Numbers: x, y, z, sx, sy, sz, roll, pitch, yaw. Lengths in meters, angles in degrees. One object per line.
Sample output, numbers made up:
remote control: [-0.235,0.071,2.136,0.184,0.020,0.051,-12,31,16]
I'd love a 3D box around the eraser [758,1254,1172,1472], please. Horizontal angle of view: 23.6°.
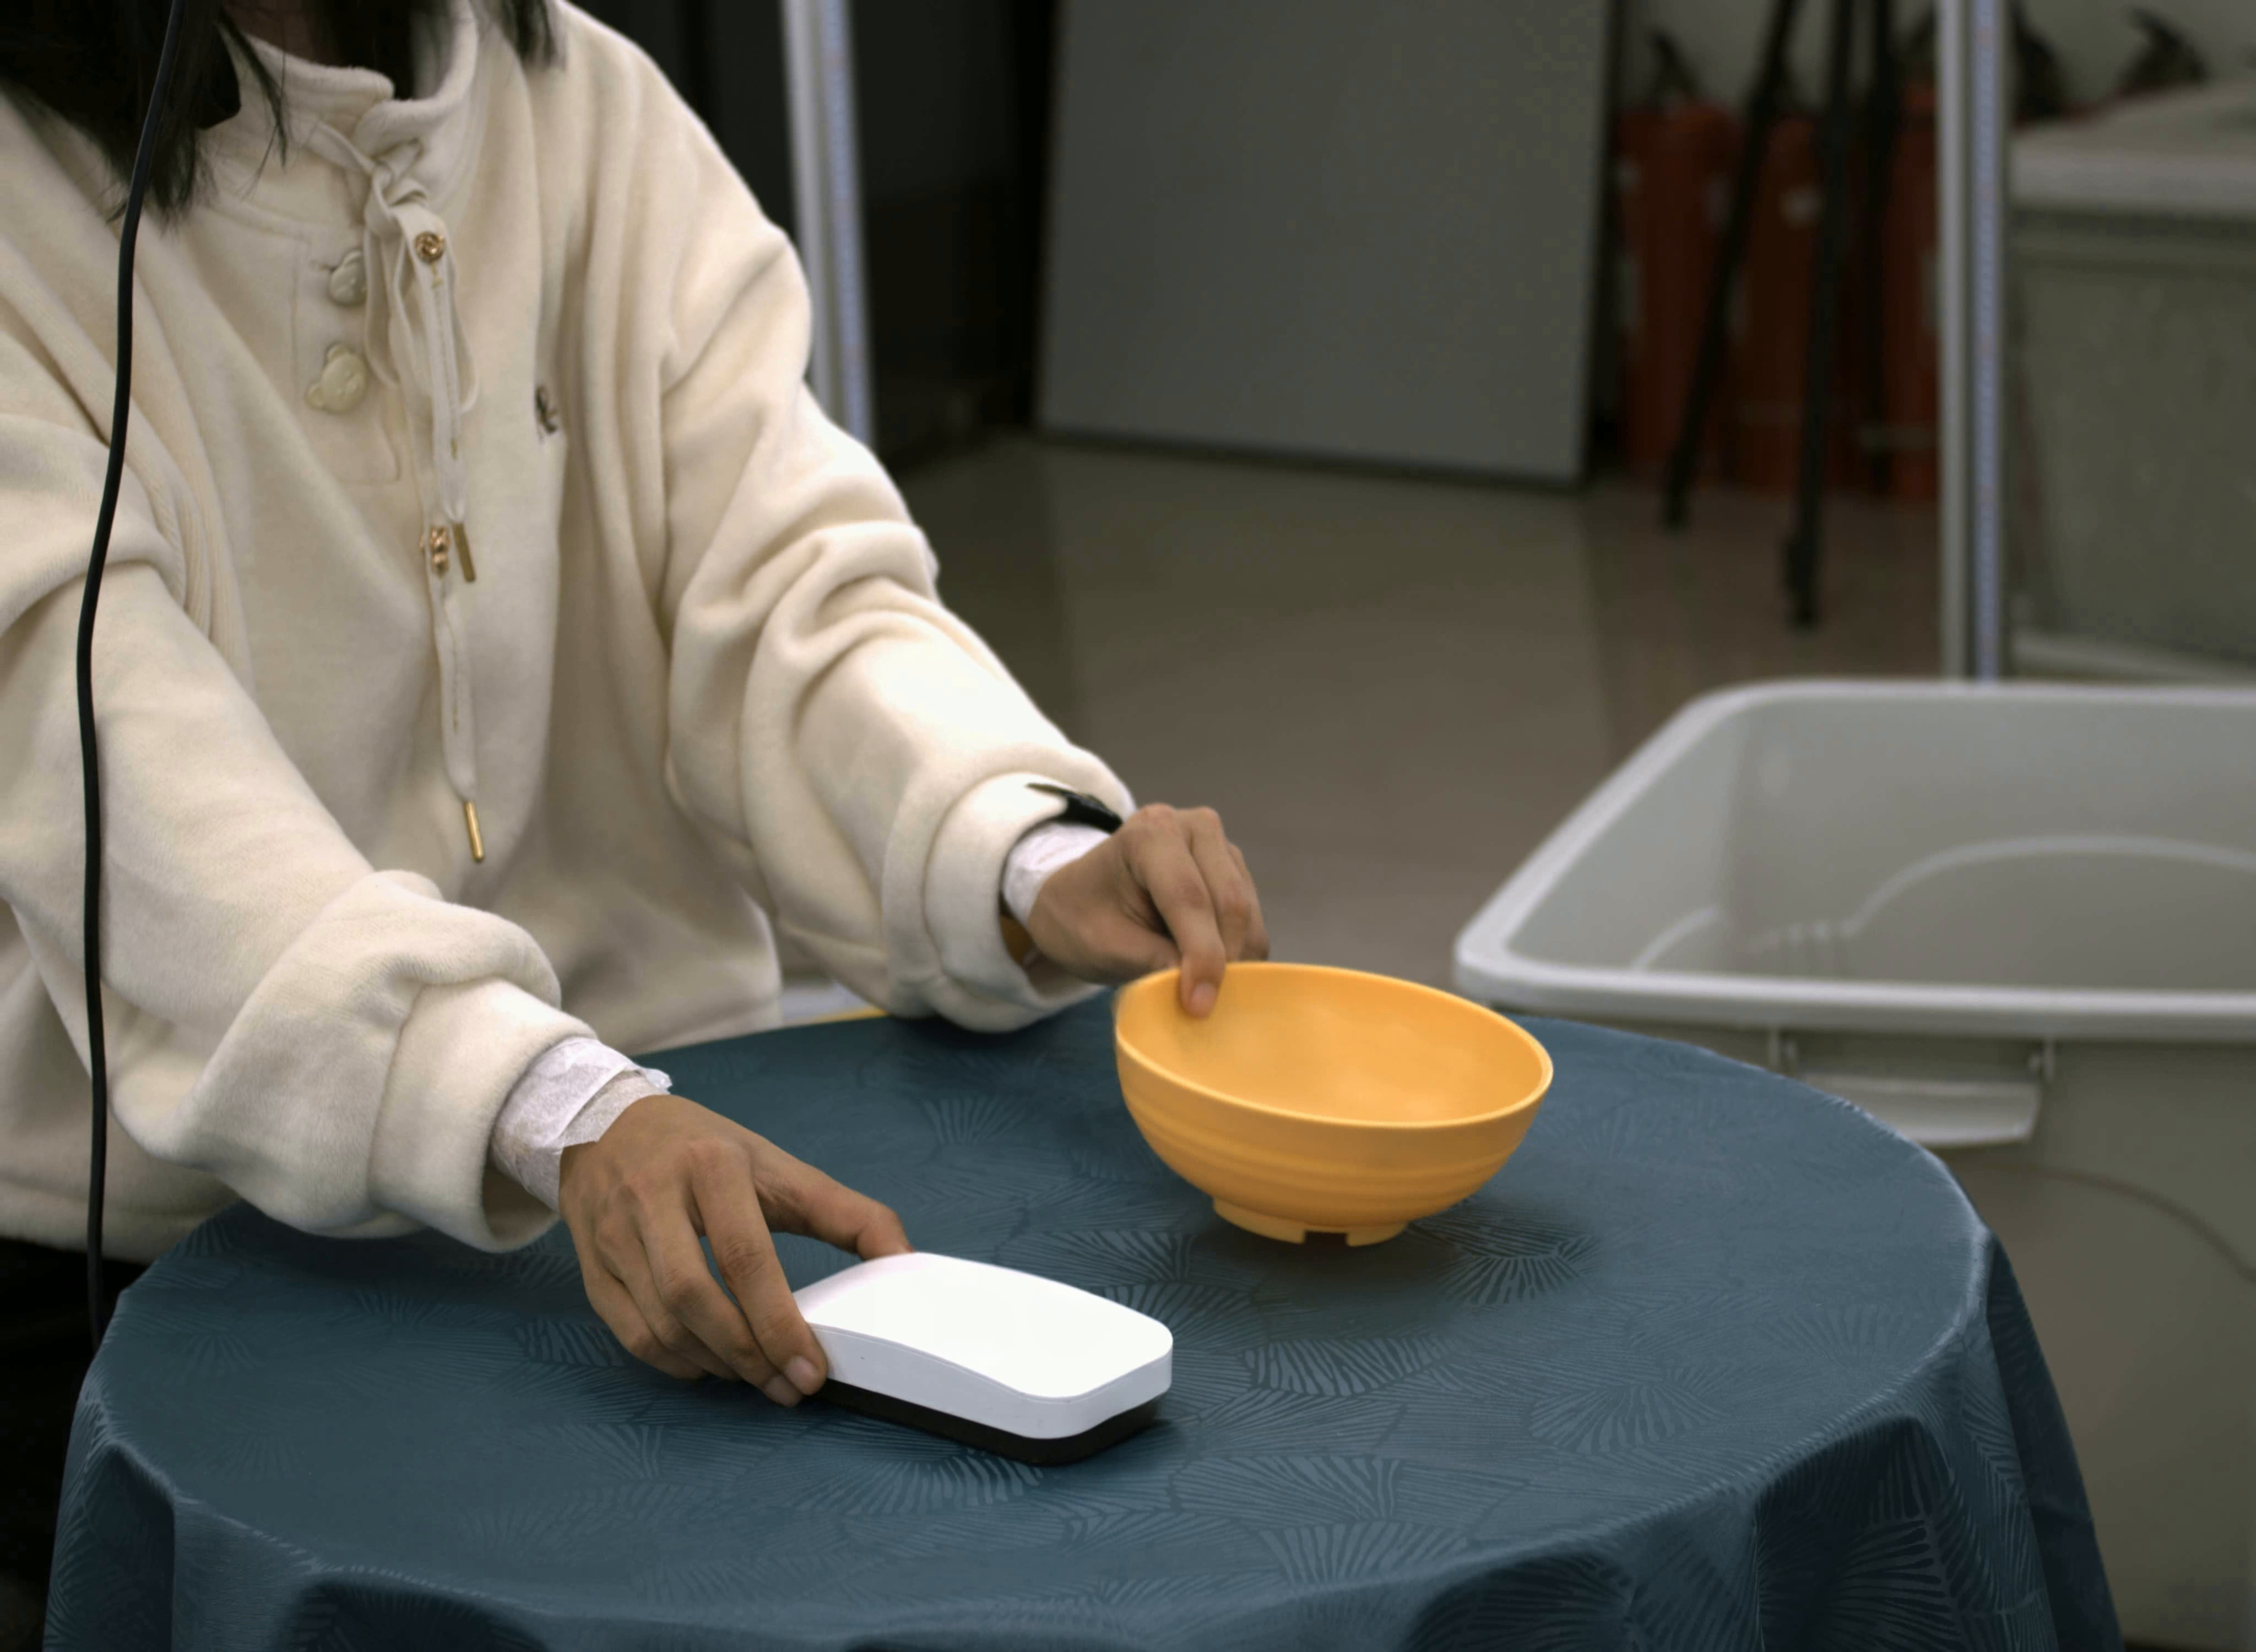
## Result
eraser: [-0.047,0.154,1.580,0.132,0.035,0.062,11,21,44]

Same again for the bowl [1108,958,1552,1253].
bowl: [0.061,0.095,1.714,0.143,0.061,0.145,5,19,-3]
